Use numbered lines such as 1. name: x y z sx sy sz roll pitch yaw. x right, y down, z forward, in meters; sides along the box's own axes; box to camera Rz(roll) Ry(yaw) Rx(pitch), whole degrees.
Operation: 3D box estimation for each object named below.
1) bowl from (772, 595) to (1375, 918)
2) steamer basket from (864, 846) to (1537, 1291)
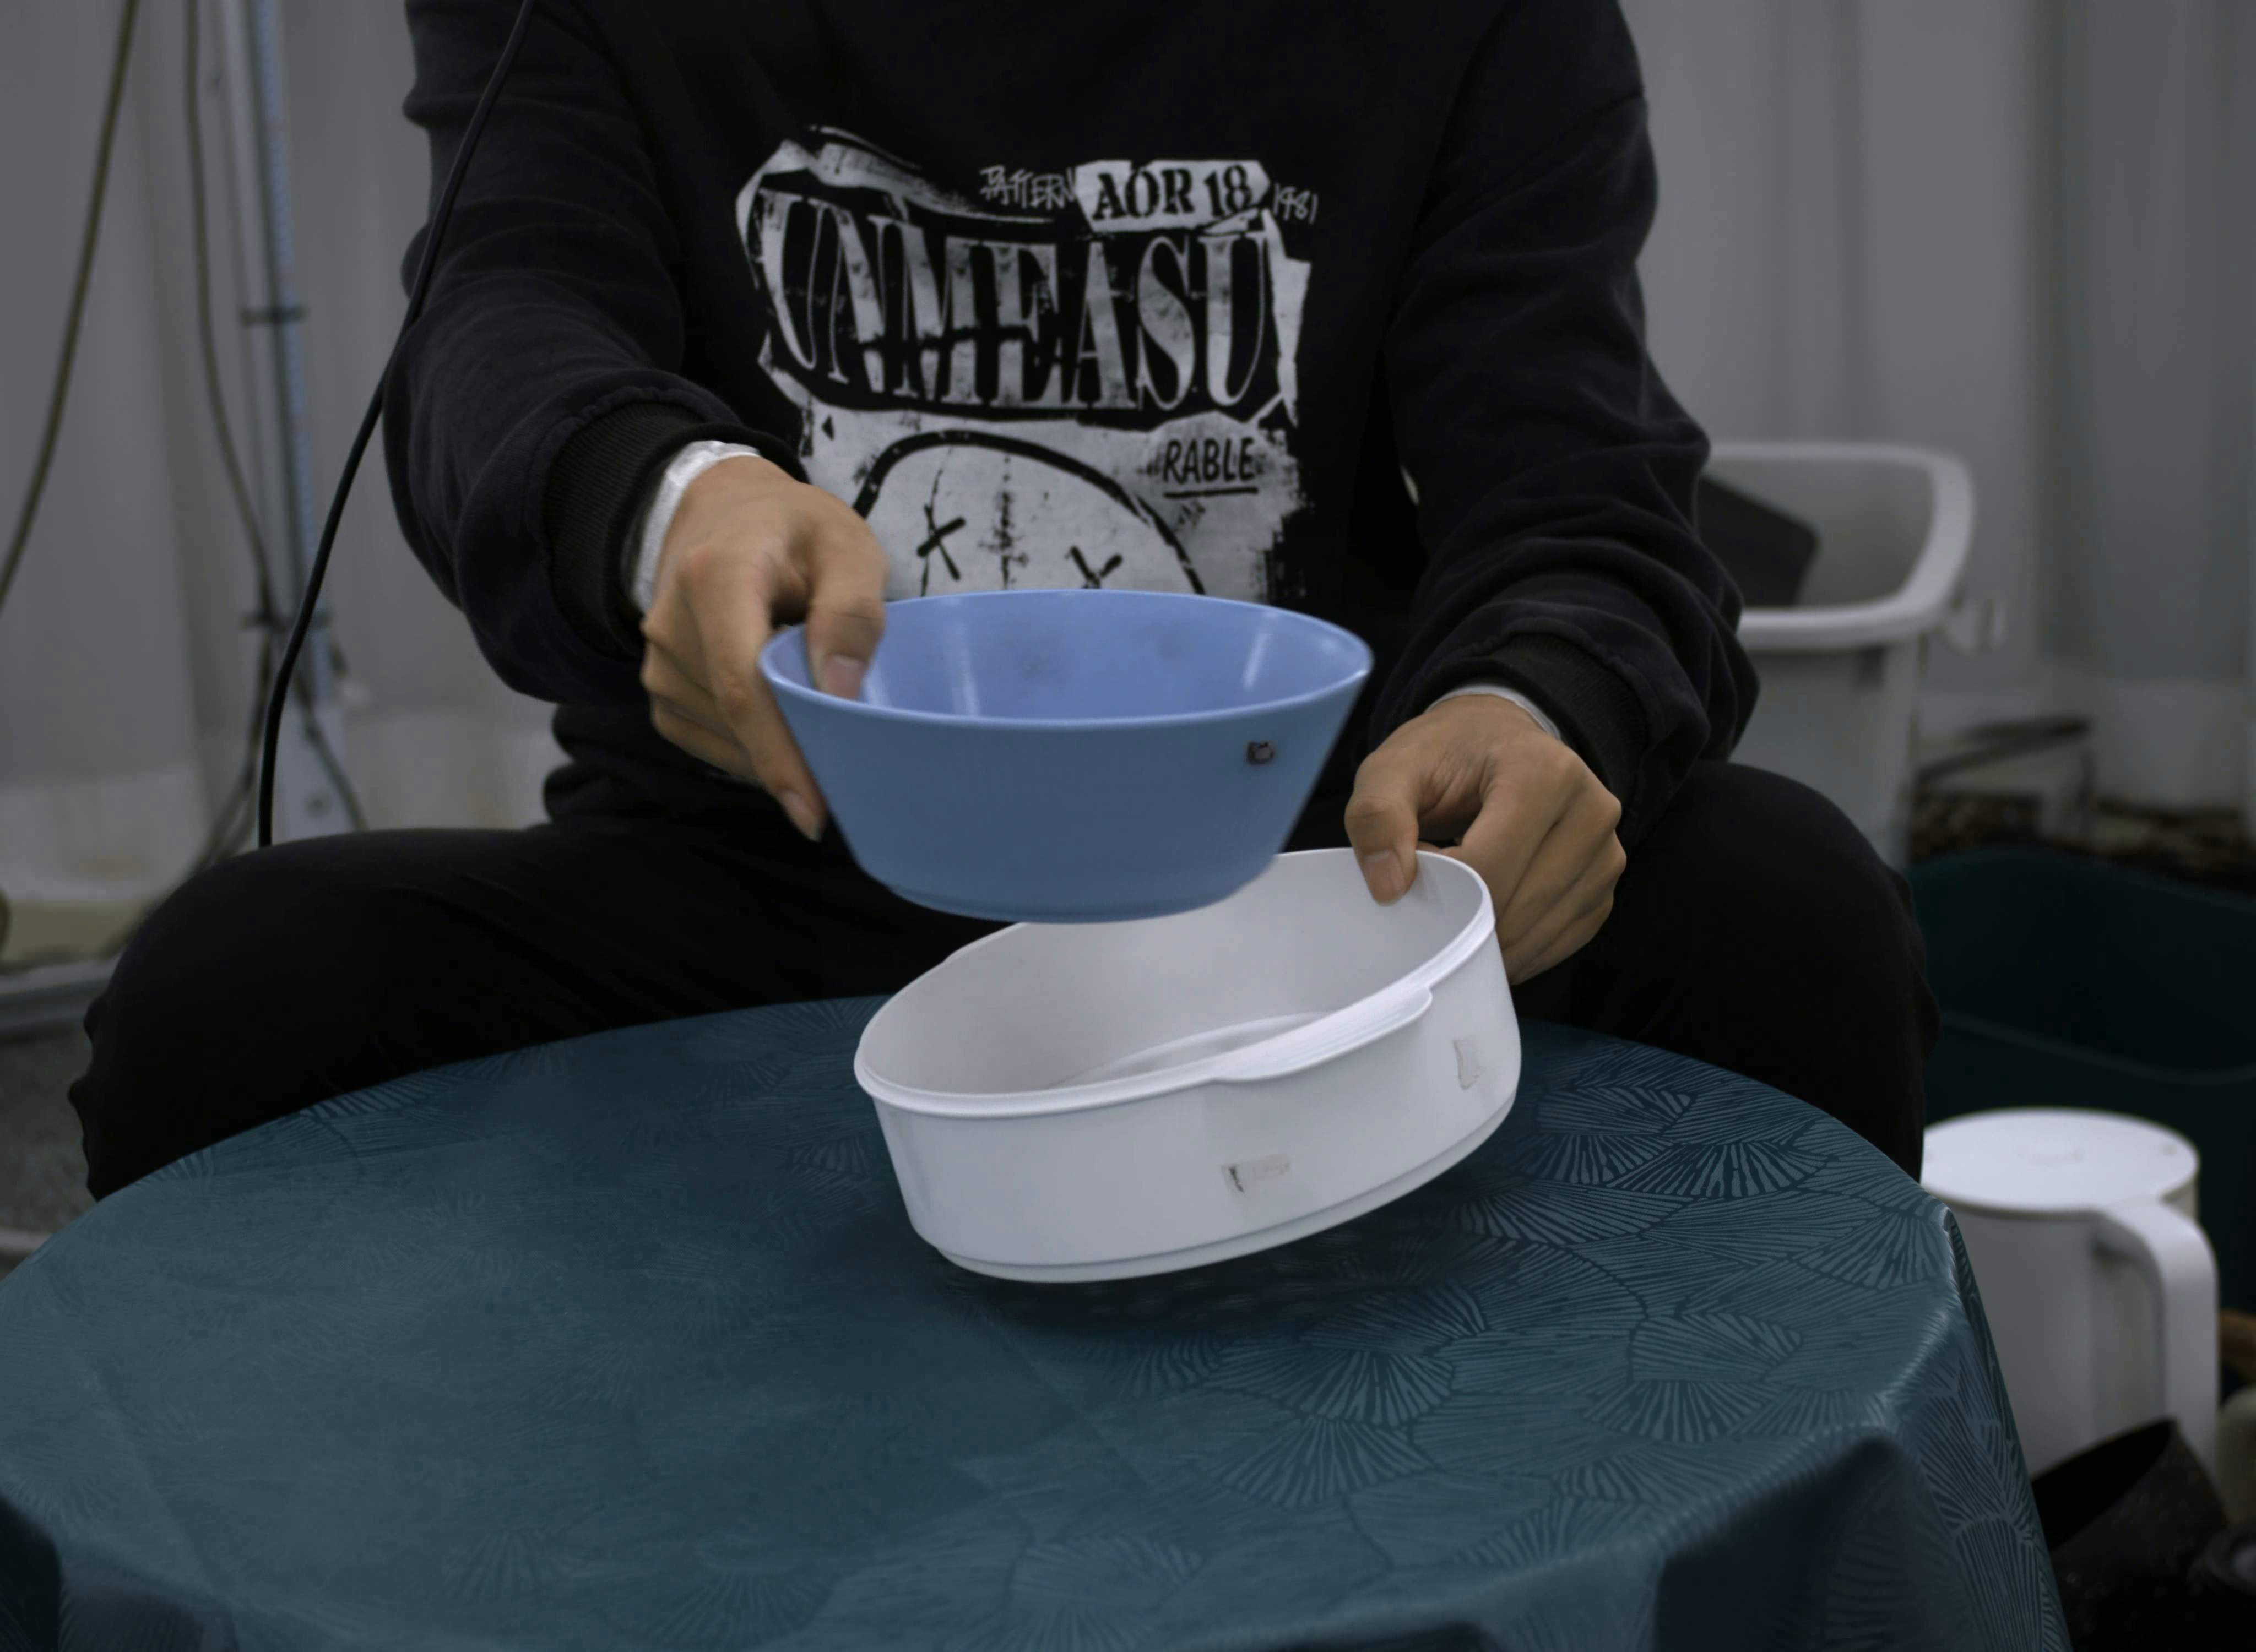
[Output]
1. bowl: -0.016 -0.019 1.589 0.175 0.070 0.177 0 13 0
2. steamer basket: 0.024 0.073 1.649 0.201 0.069 0.232 -22 19 -23
